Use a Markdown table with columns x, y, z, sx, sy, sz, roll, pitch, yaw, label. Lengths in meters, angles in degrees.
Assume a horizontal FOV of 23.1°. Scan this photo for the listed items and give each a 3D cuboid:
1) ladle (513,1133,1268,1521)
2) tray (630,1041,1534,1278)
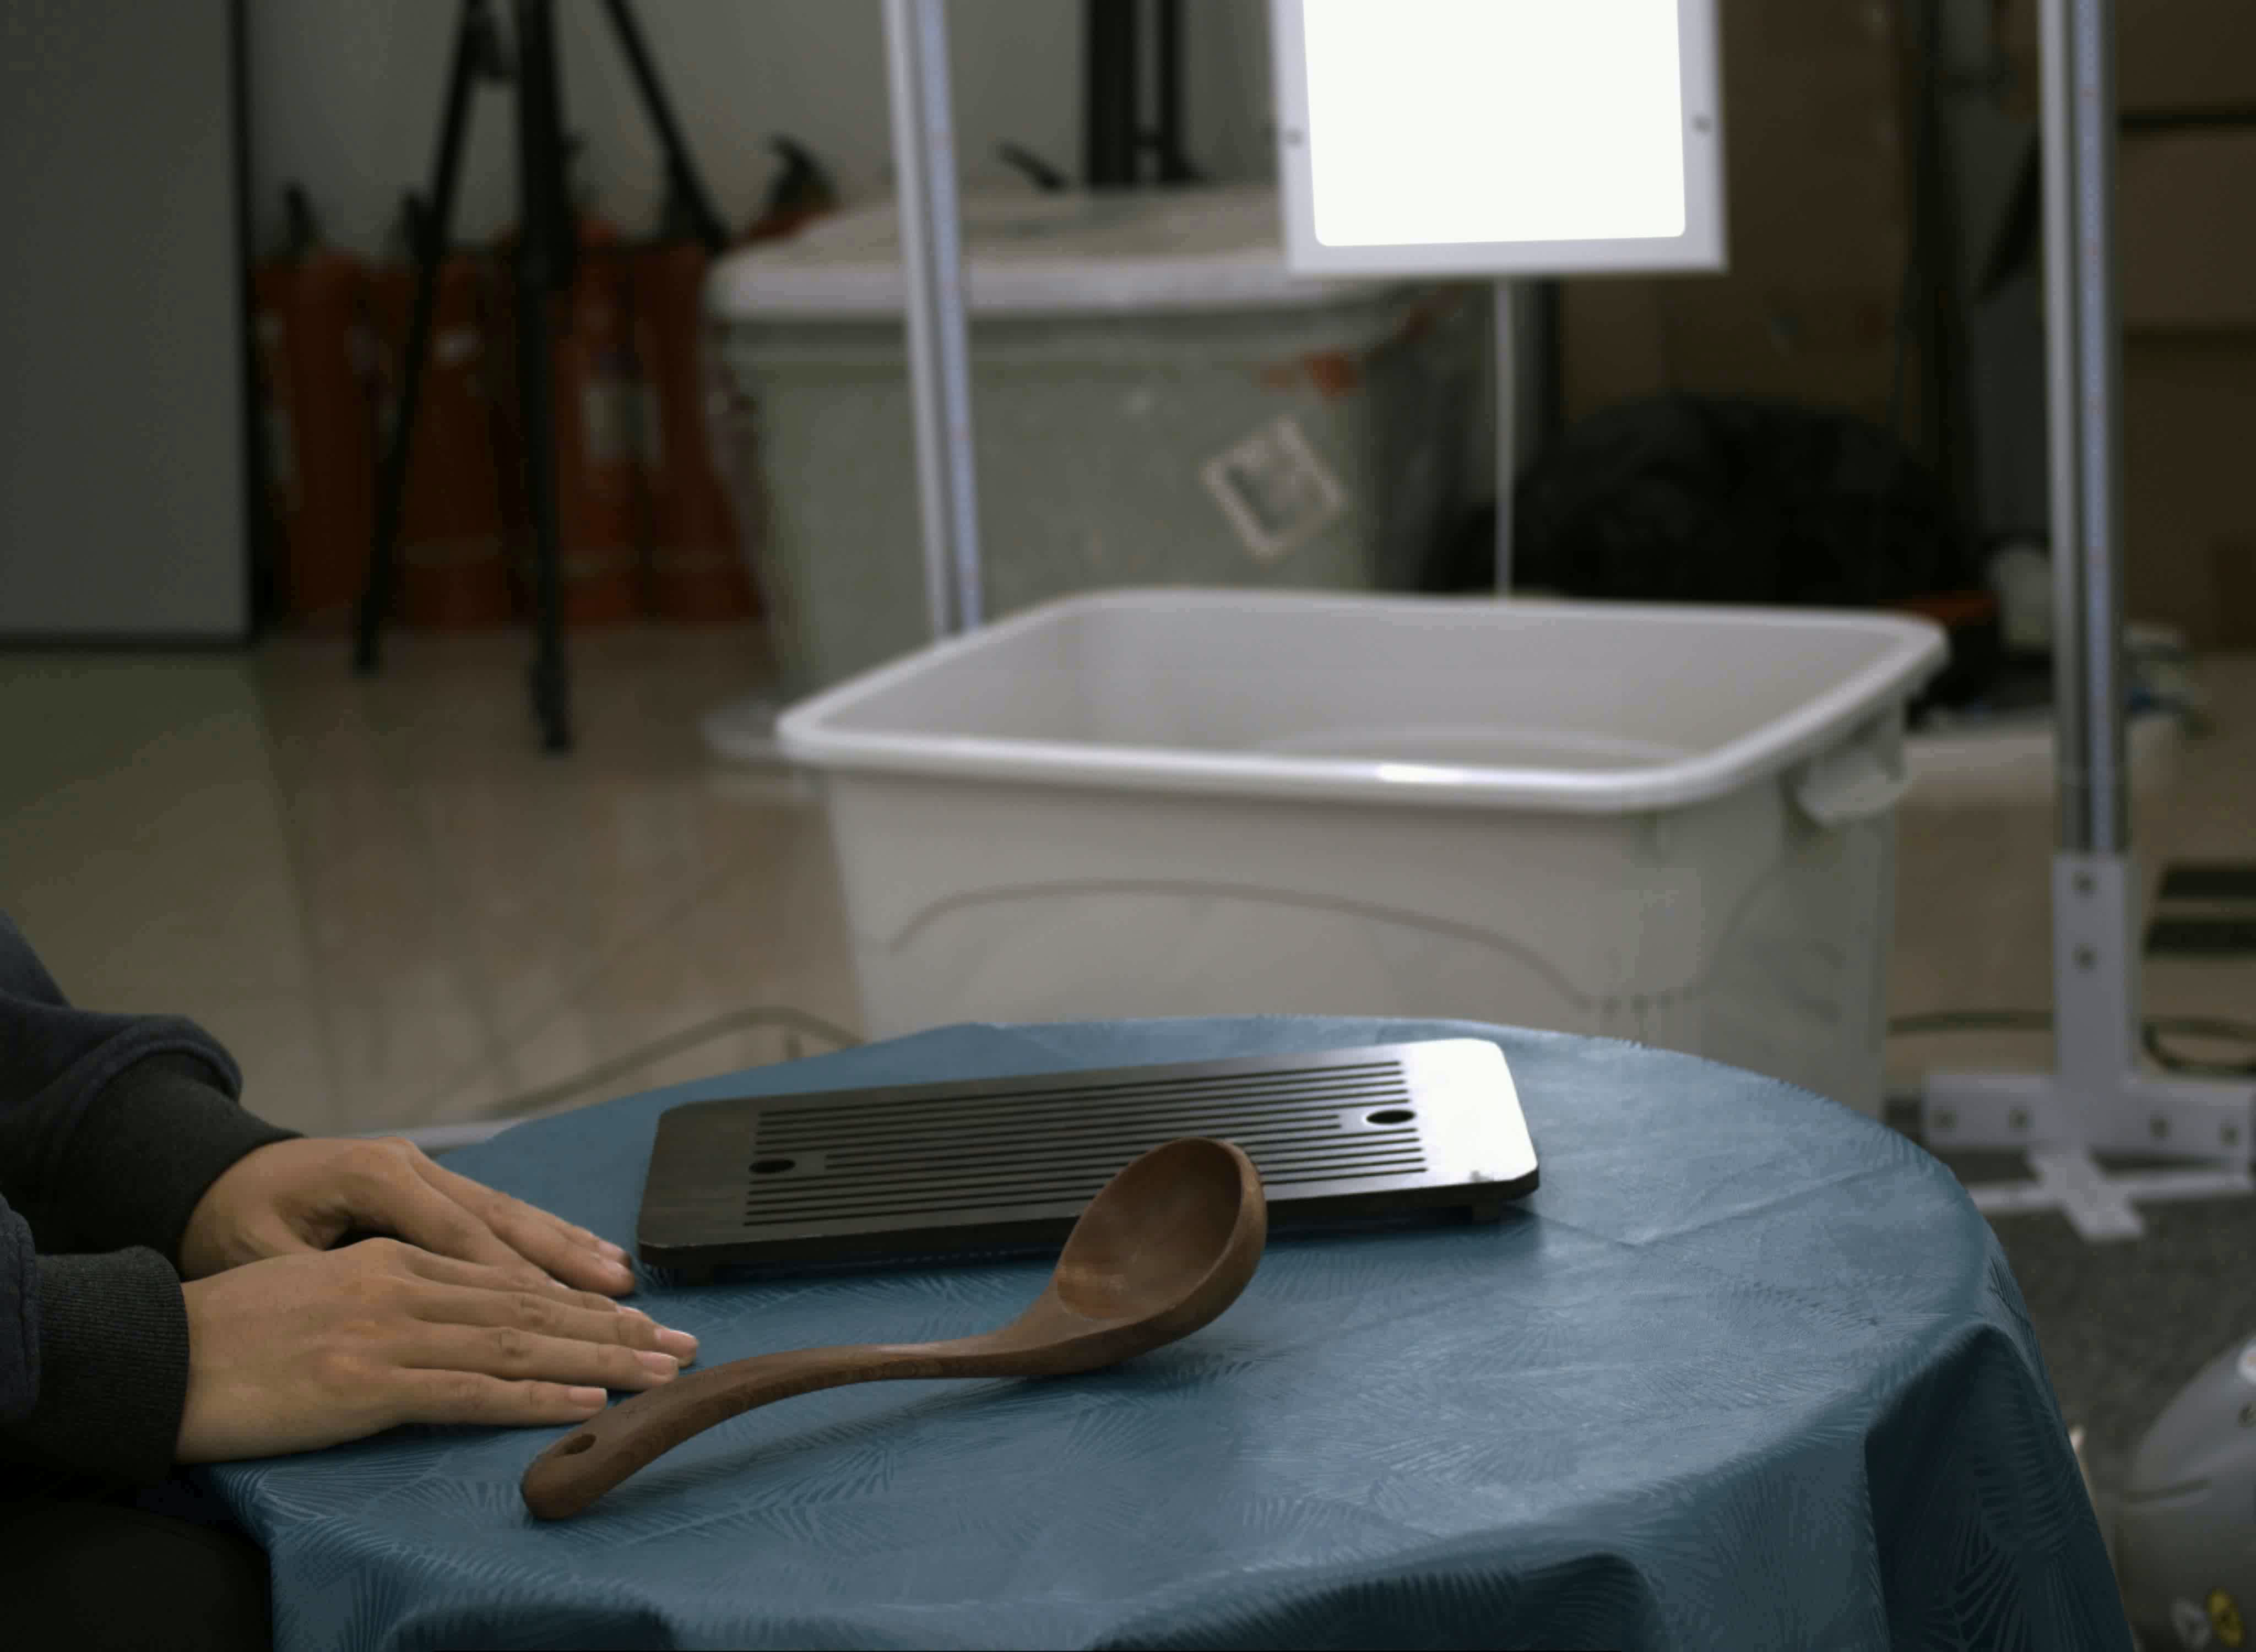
| x | y | z | sx | sy | sz | roll | pitch | yaw | label |
| --- | --- | --- | --- | --- | --- | --- | --- | --- | --- |
| -0.072 | 0.151 | 1.687 | 0.254 | 0.065 | 0.078 | -12 | 15 | -27 | ladle |
| -0.016 | 0.115 | 1.911 | 0.305 | 0.019 | 0.169 | -5 | 14 | 2 | tray |
